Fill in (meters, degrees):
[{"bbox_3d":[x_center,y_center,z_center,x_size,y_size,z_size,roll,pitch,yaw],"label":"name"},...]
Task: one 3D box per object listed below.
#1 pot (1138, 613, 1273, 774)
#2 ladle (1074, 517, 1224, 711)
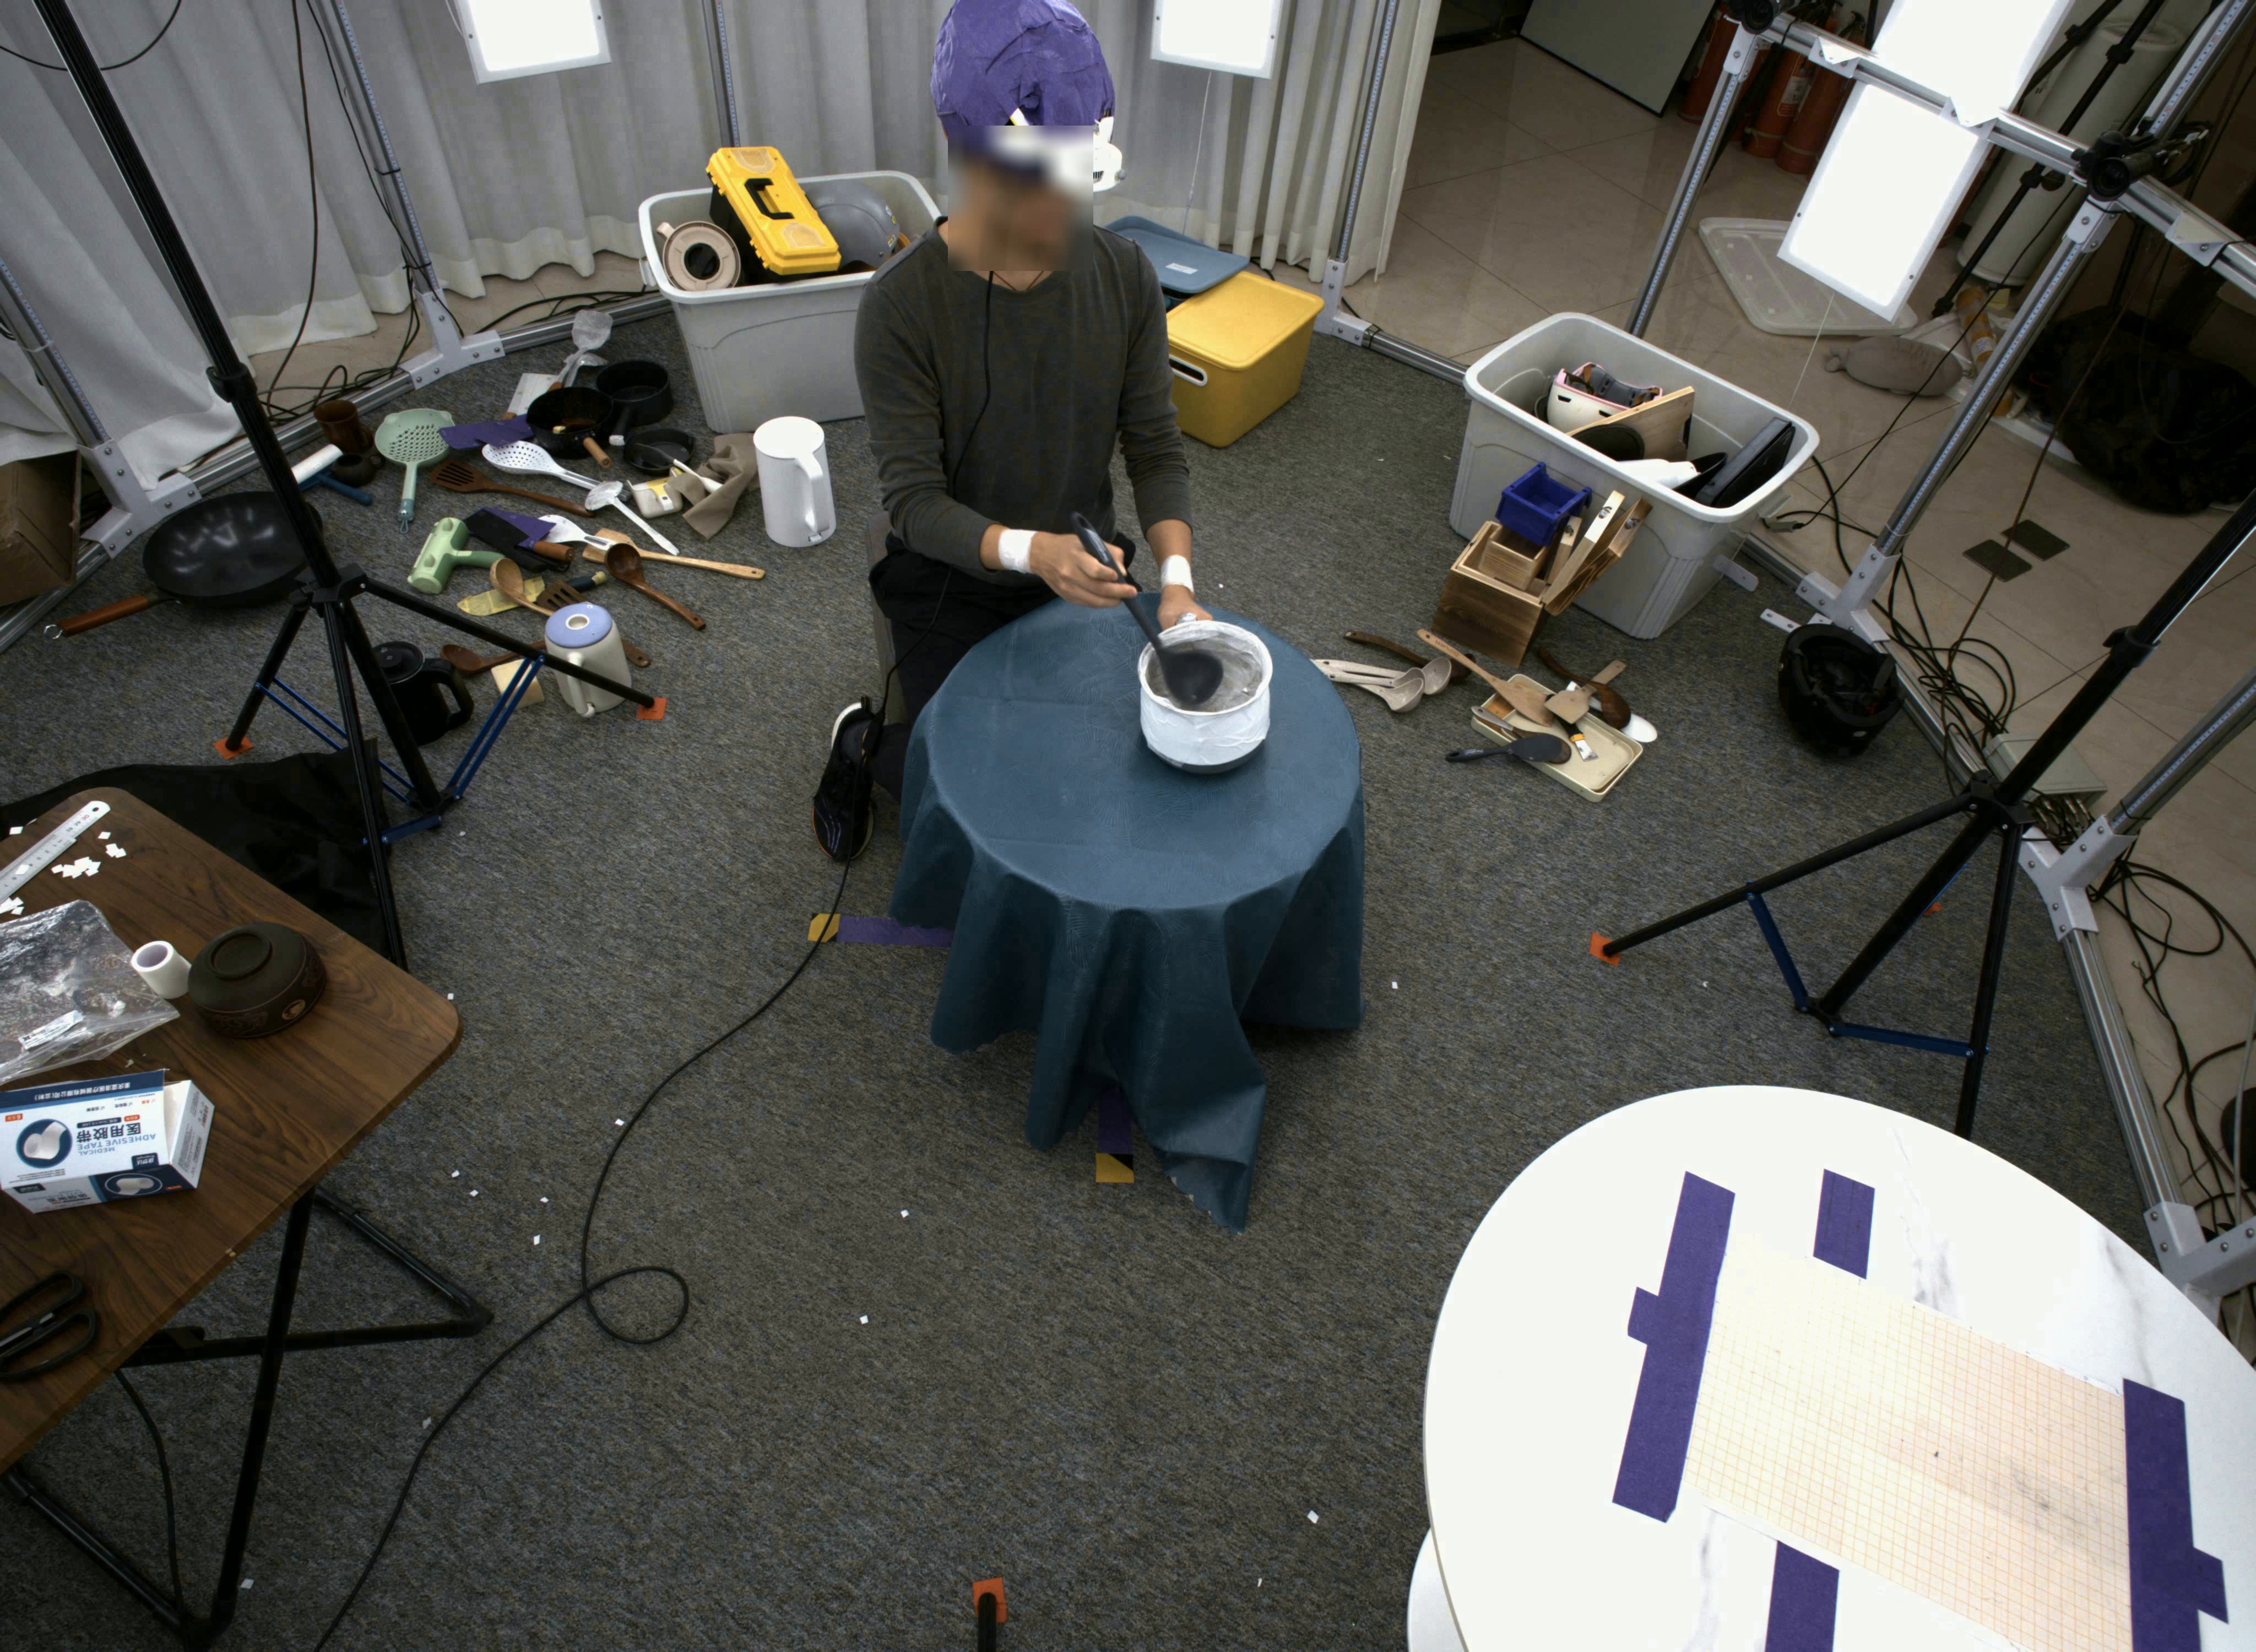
[{"bbox_3d":[0.098,-0.190,1.744,0.178,0.133,0.239,-11,50,-5],"label":"pot"},{"bbox_3d":[0.026,-0.273,1.648,0.064,0.307,0.087,9,55,44],"label":"ladle"}]
